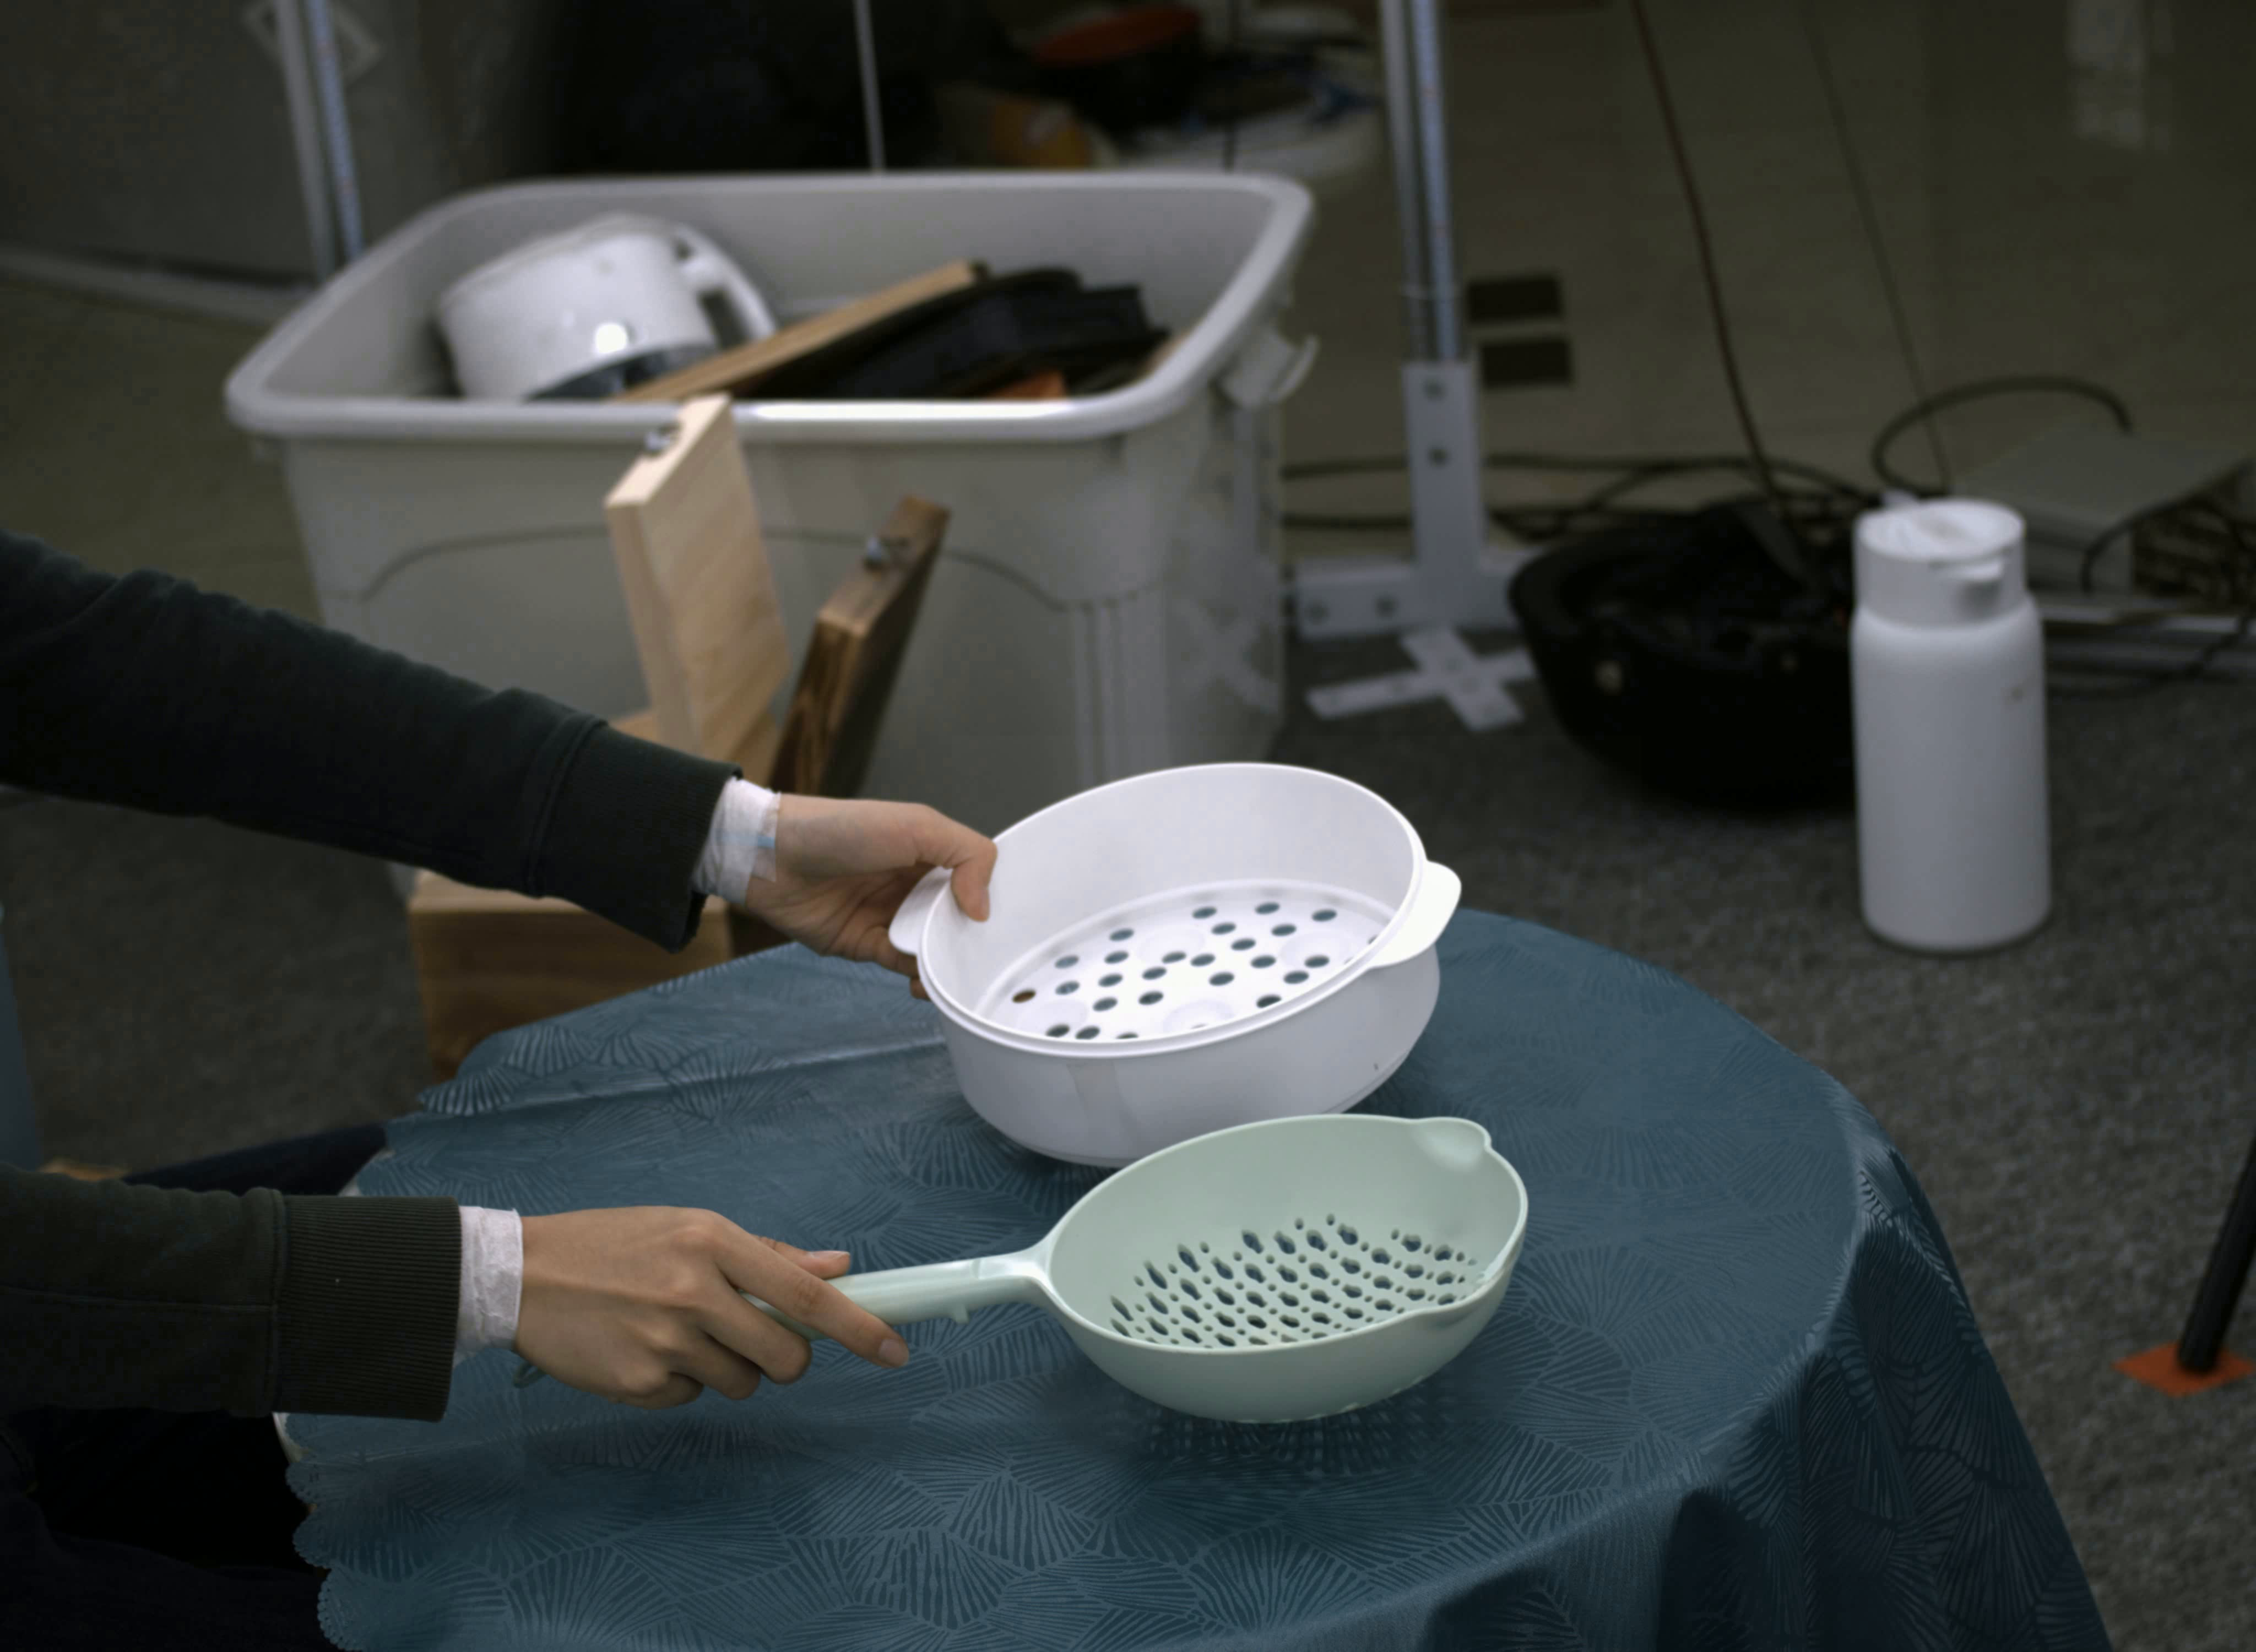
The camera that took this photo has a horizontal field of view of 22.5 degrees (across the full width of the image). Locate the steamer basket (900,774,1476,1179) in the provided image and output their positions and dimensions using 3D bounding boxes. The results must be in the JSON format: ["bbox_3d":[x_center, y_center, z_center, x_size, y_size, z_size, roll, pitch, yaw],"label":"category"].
[{"bbox_3d":[0.027,0.058,2.199,0.230,0.070,0.199,0,33,23],"label":"steamer basket"}]

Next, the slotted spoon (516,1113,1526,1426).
[{"bbox_3d":[-0.040,0.165,1.995,0.358,0.076,0.167,0,24,3],"label":"slotted spoon"}]
